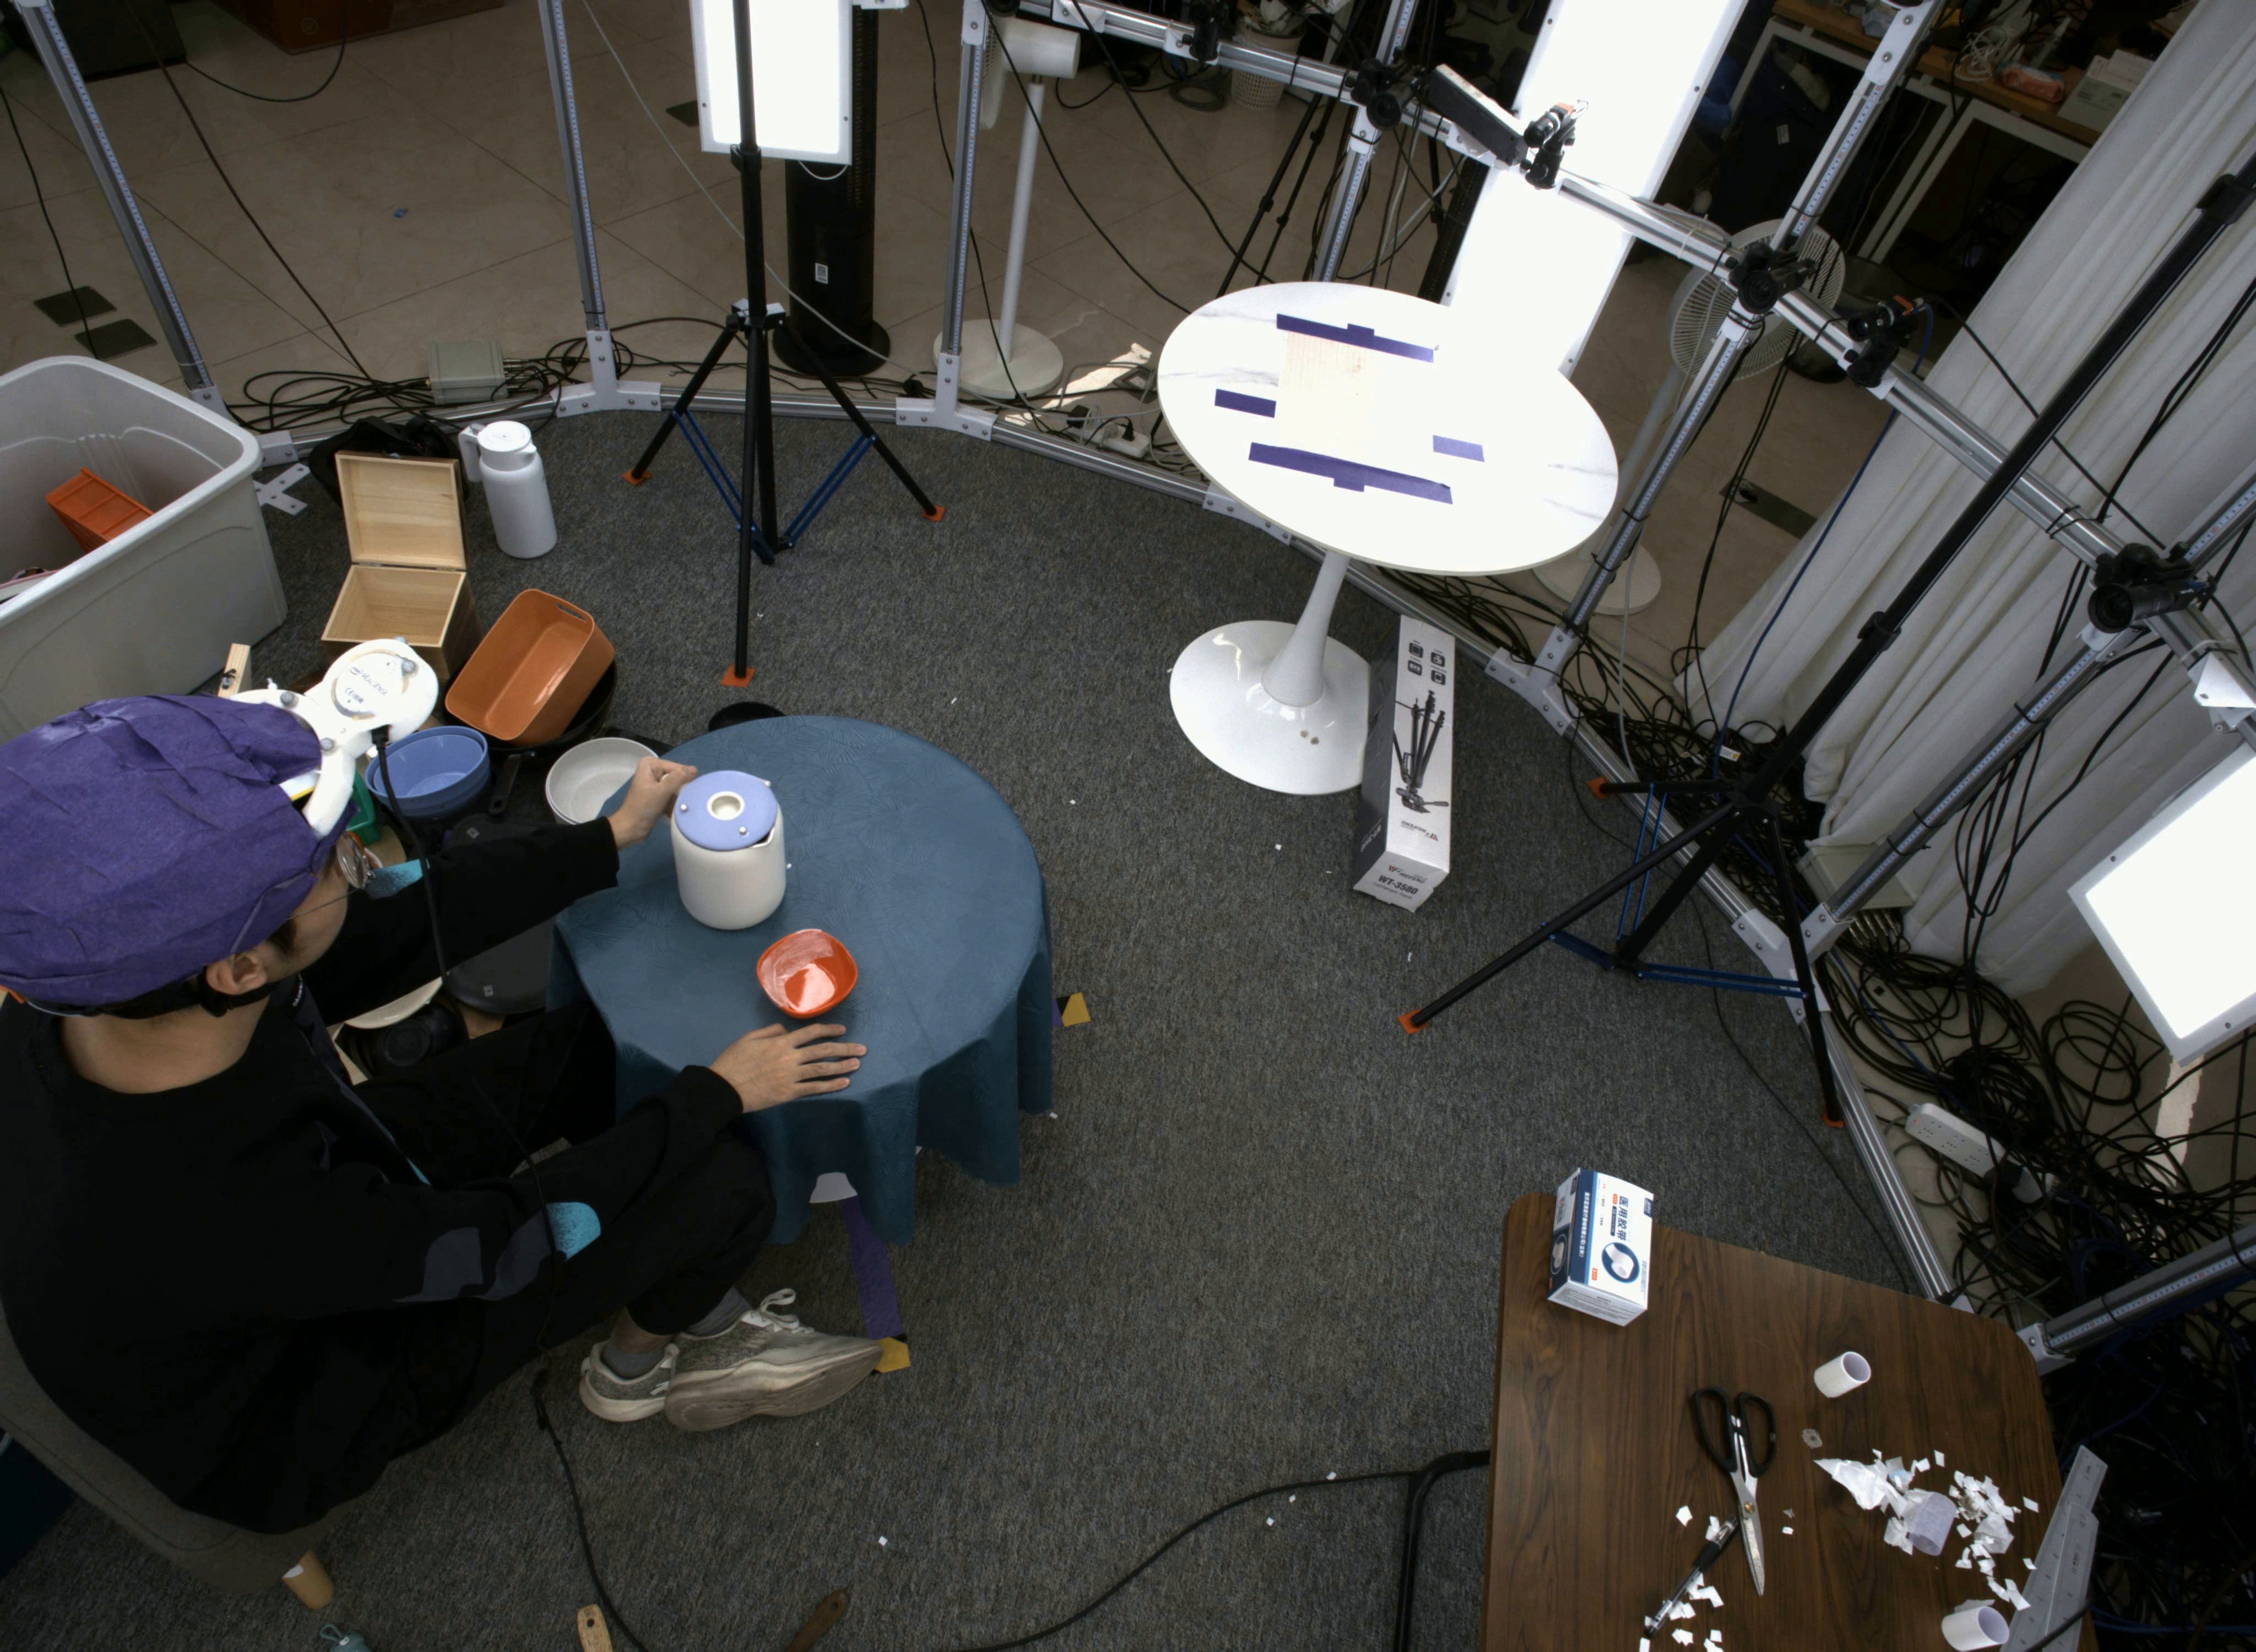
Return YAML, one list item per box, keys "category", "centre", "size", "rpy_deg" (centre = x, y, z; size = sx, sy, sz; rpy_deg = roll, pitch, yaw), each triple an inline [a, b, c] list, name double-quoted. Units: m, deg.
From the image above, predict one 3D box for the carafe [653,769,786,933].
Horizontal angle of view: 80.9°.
- category: "carafe"
  centre: [-0.509, 0.017, 1.585]
  size: [0.187, 0.187, 0.132]
  rpy_deg: [30, 51, 13]

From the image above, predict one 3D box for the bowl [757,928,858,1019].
- category: "bowl"
  centre: [-0.388, 0.185, 1.568]
  size: [0.119, 0.052, 0.117]
  rpy_deg: [10, 52, -11]
